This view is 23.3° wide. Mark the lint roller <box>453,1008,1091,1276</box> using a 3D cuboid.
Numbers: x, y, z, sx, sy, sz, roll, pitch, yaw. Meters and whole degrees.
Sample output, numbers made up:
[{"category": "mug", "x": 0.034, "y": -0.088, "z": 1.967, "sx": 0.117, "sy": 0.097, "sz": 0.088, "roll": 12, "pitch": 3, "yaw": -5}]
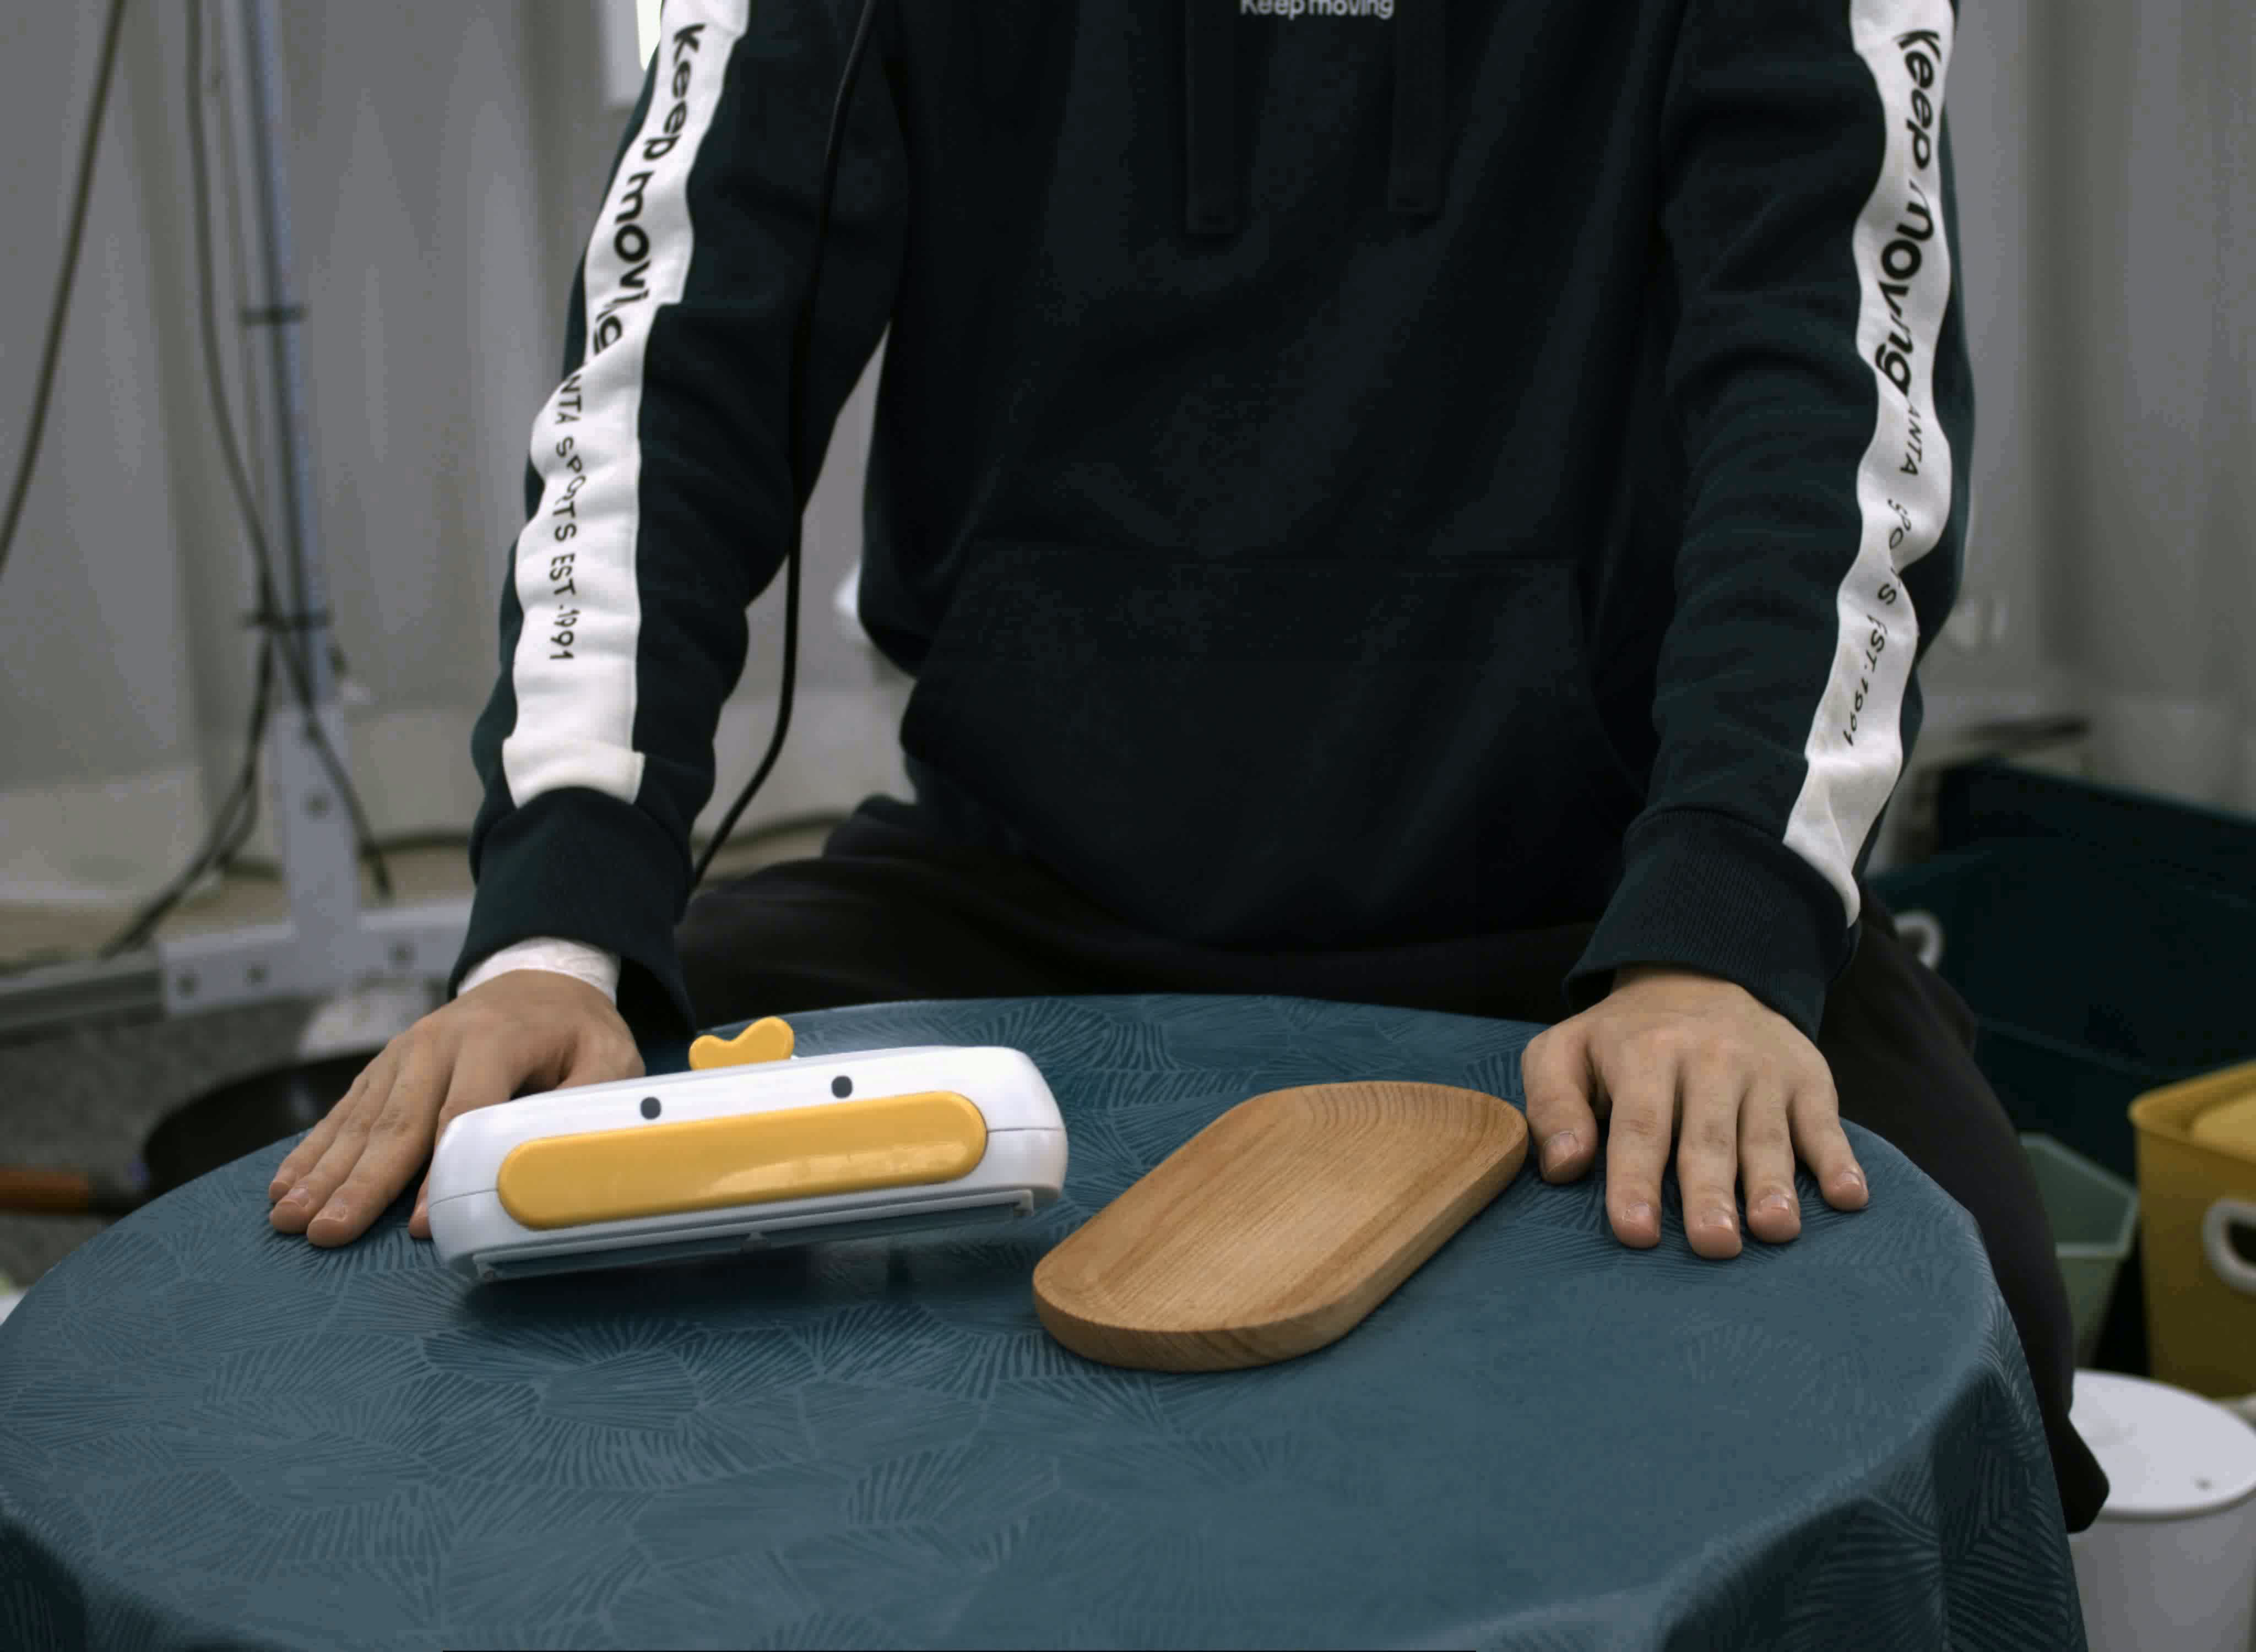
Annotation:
[{"category": "lint roller", "x": -0.114, "y": 0.098, "z": 1.705, "sx": 0.192, "sy": 0.074, "sz": 0.192, "roll": -11, "pitch": -4, "yaw": -6}]

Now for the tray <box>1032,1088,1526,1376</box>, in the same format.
[{"category": "tray", "x": 0.049, "y": 0.120, "z": 1.651, "sx": 0.102, "sy": 0.020, "sz": 0.232, "roll": 3, "pitch": 17, "yaw": 23}]
